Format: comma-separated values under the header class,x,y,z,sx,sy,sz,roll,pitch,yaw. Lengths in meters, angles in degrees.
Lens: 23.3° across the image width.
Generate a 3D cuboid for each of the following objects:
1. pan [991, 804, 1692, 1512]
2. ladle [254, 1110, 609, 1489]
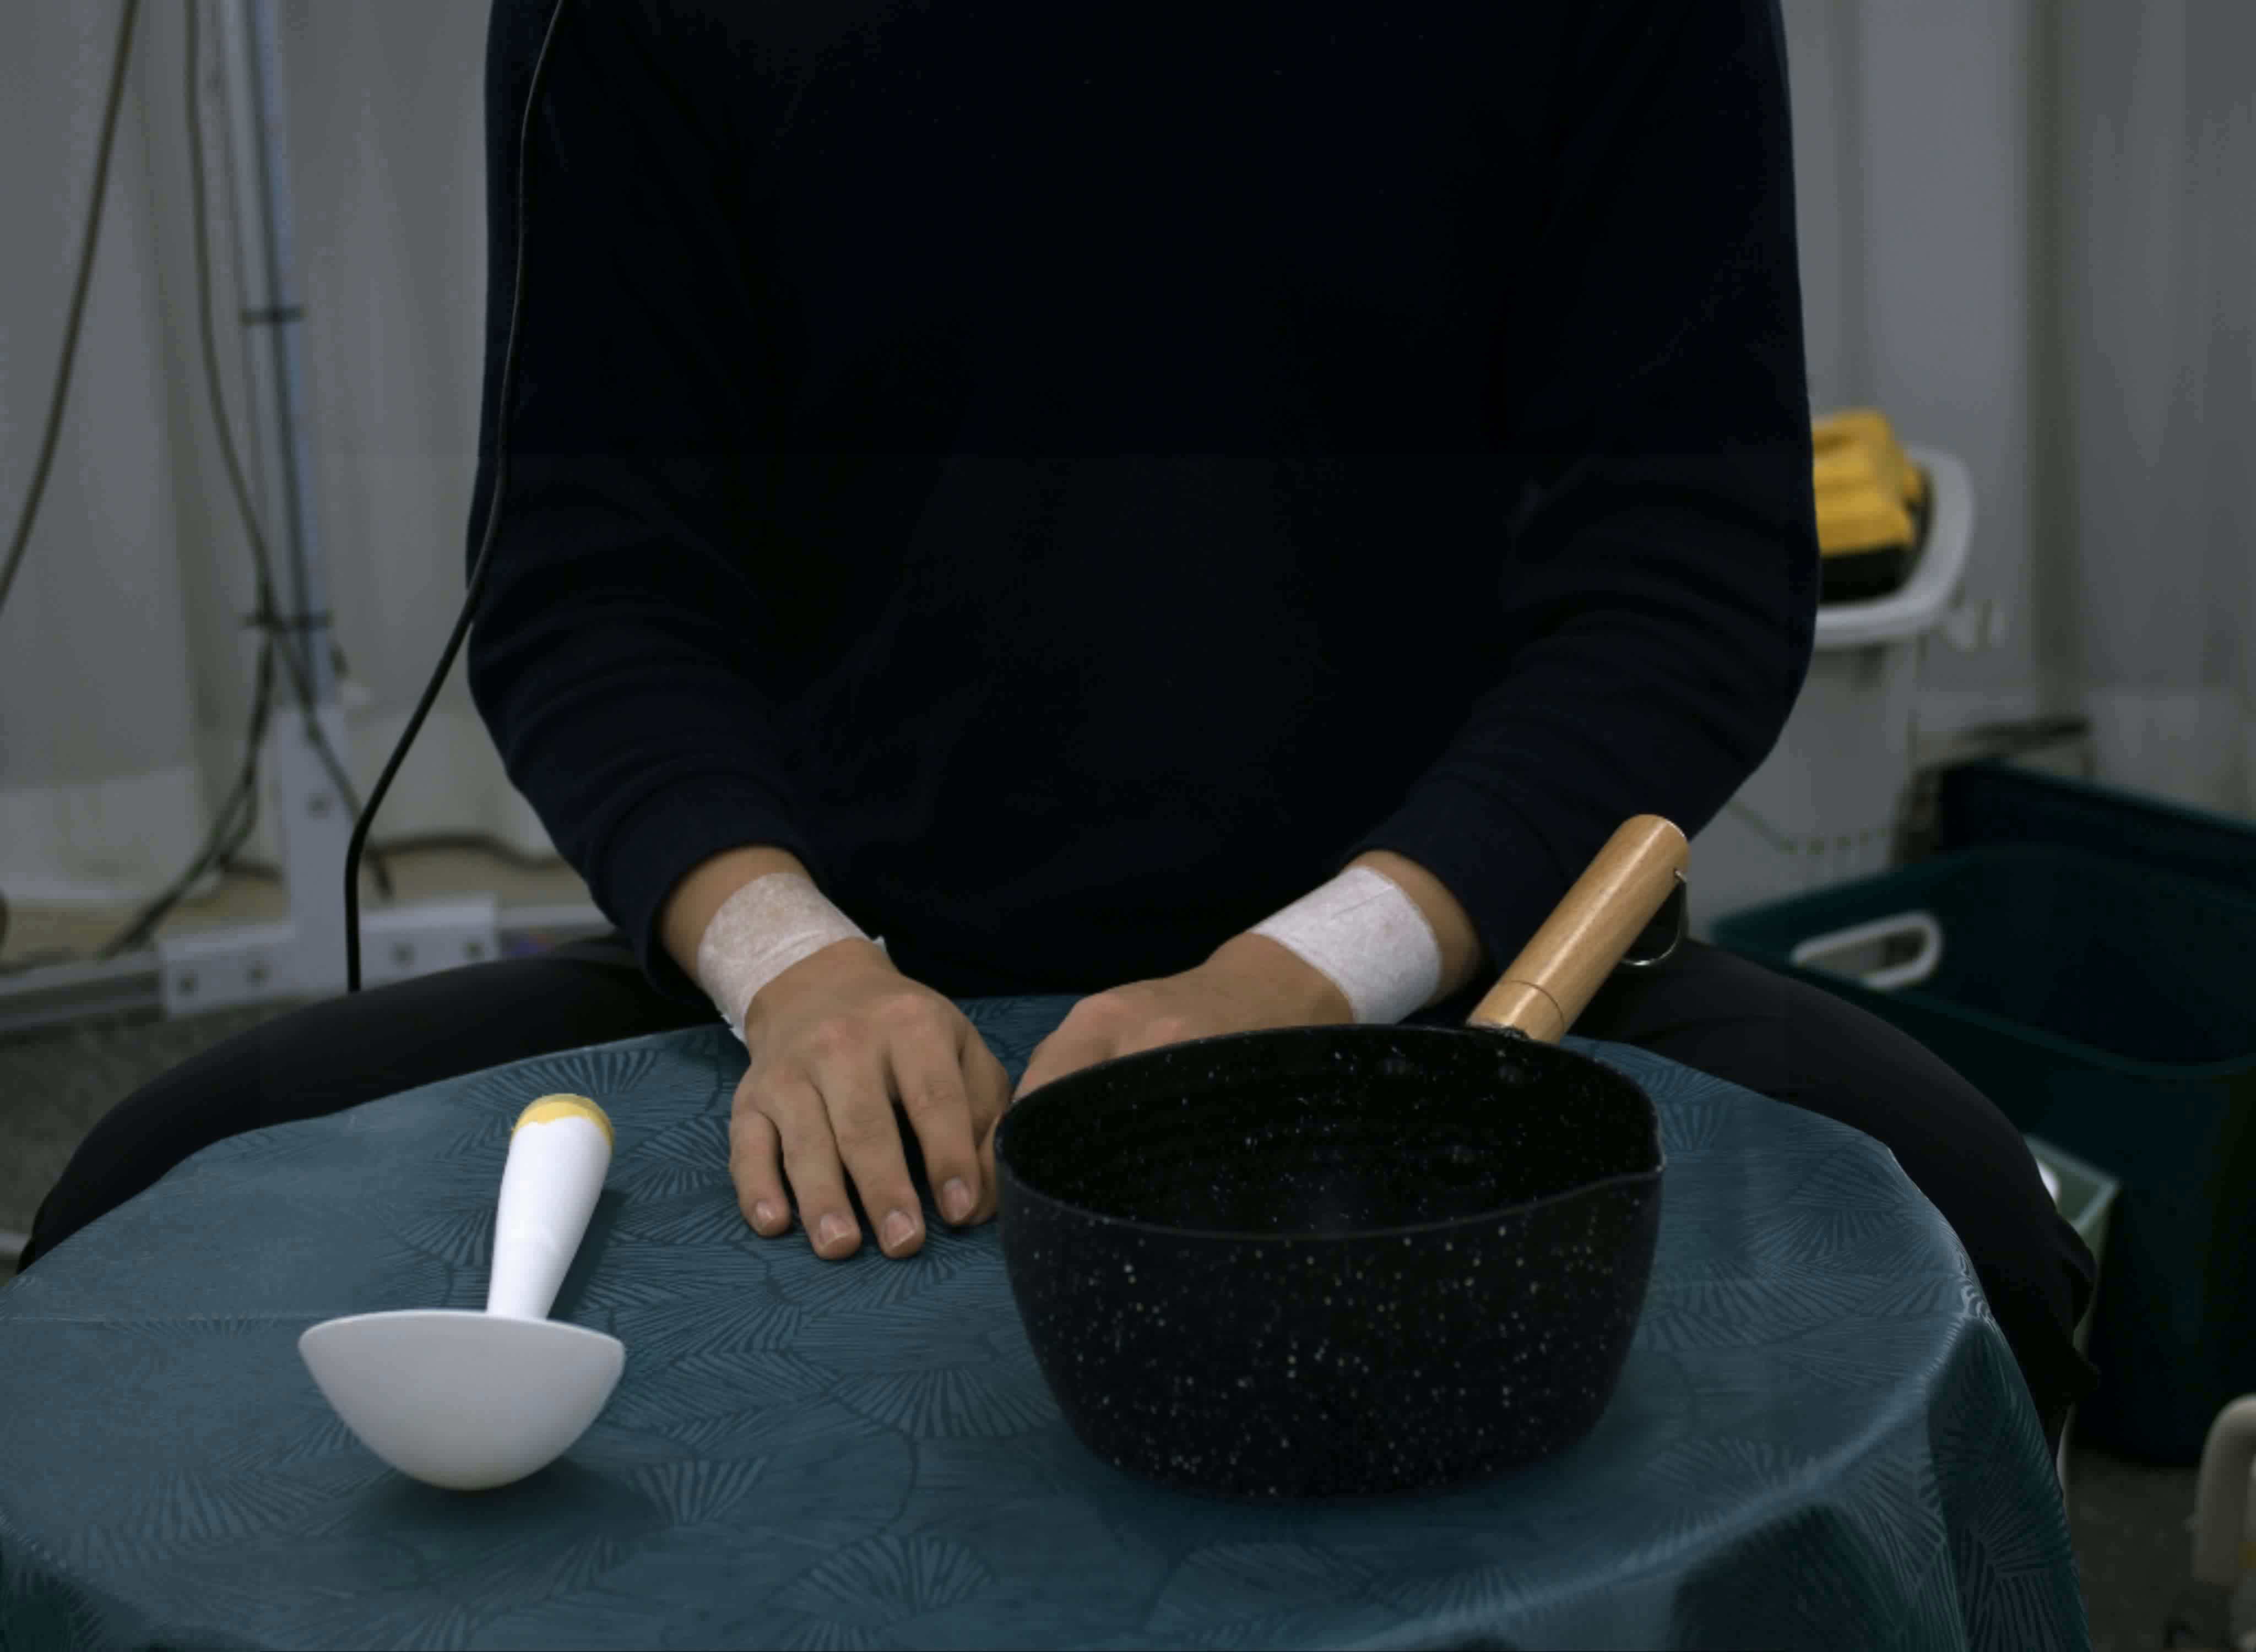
class,x,y,z,sx,sy,sz,roll,pitch,yaw
pan,0.090,0.091,1.580,0.208,0.108,0.344,3,17,26
ladle,-0.187,0.123,1.597,0.090,0.069,0.295,-6,14,4
